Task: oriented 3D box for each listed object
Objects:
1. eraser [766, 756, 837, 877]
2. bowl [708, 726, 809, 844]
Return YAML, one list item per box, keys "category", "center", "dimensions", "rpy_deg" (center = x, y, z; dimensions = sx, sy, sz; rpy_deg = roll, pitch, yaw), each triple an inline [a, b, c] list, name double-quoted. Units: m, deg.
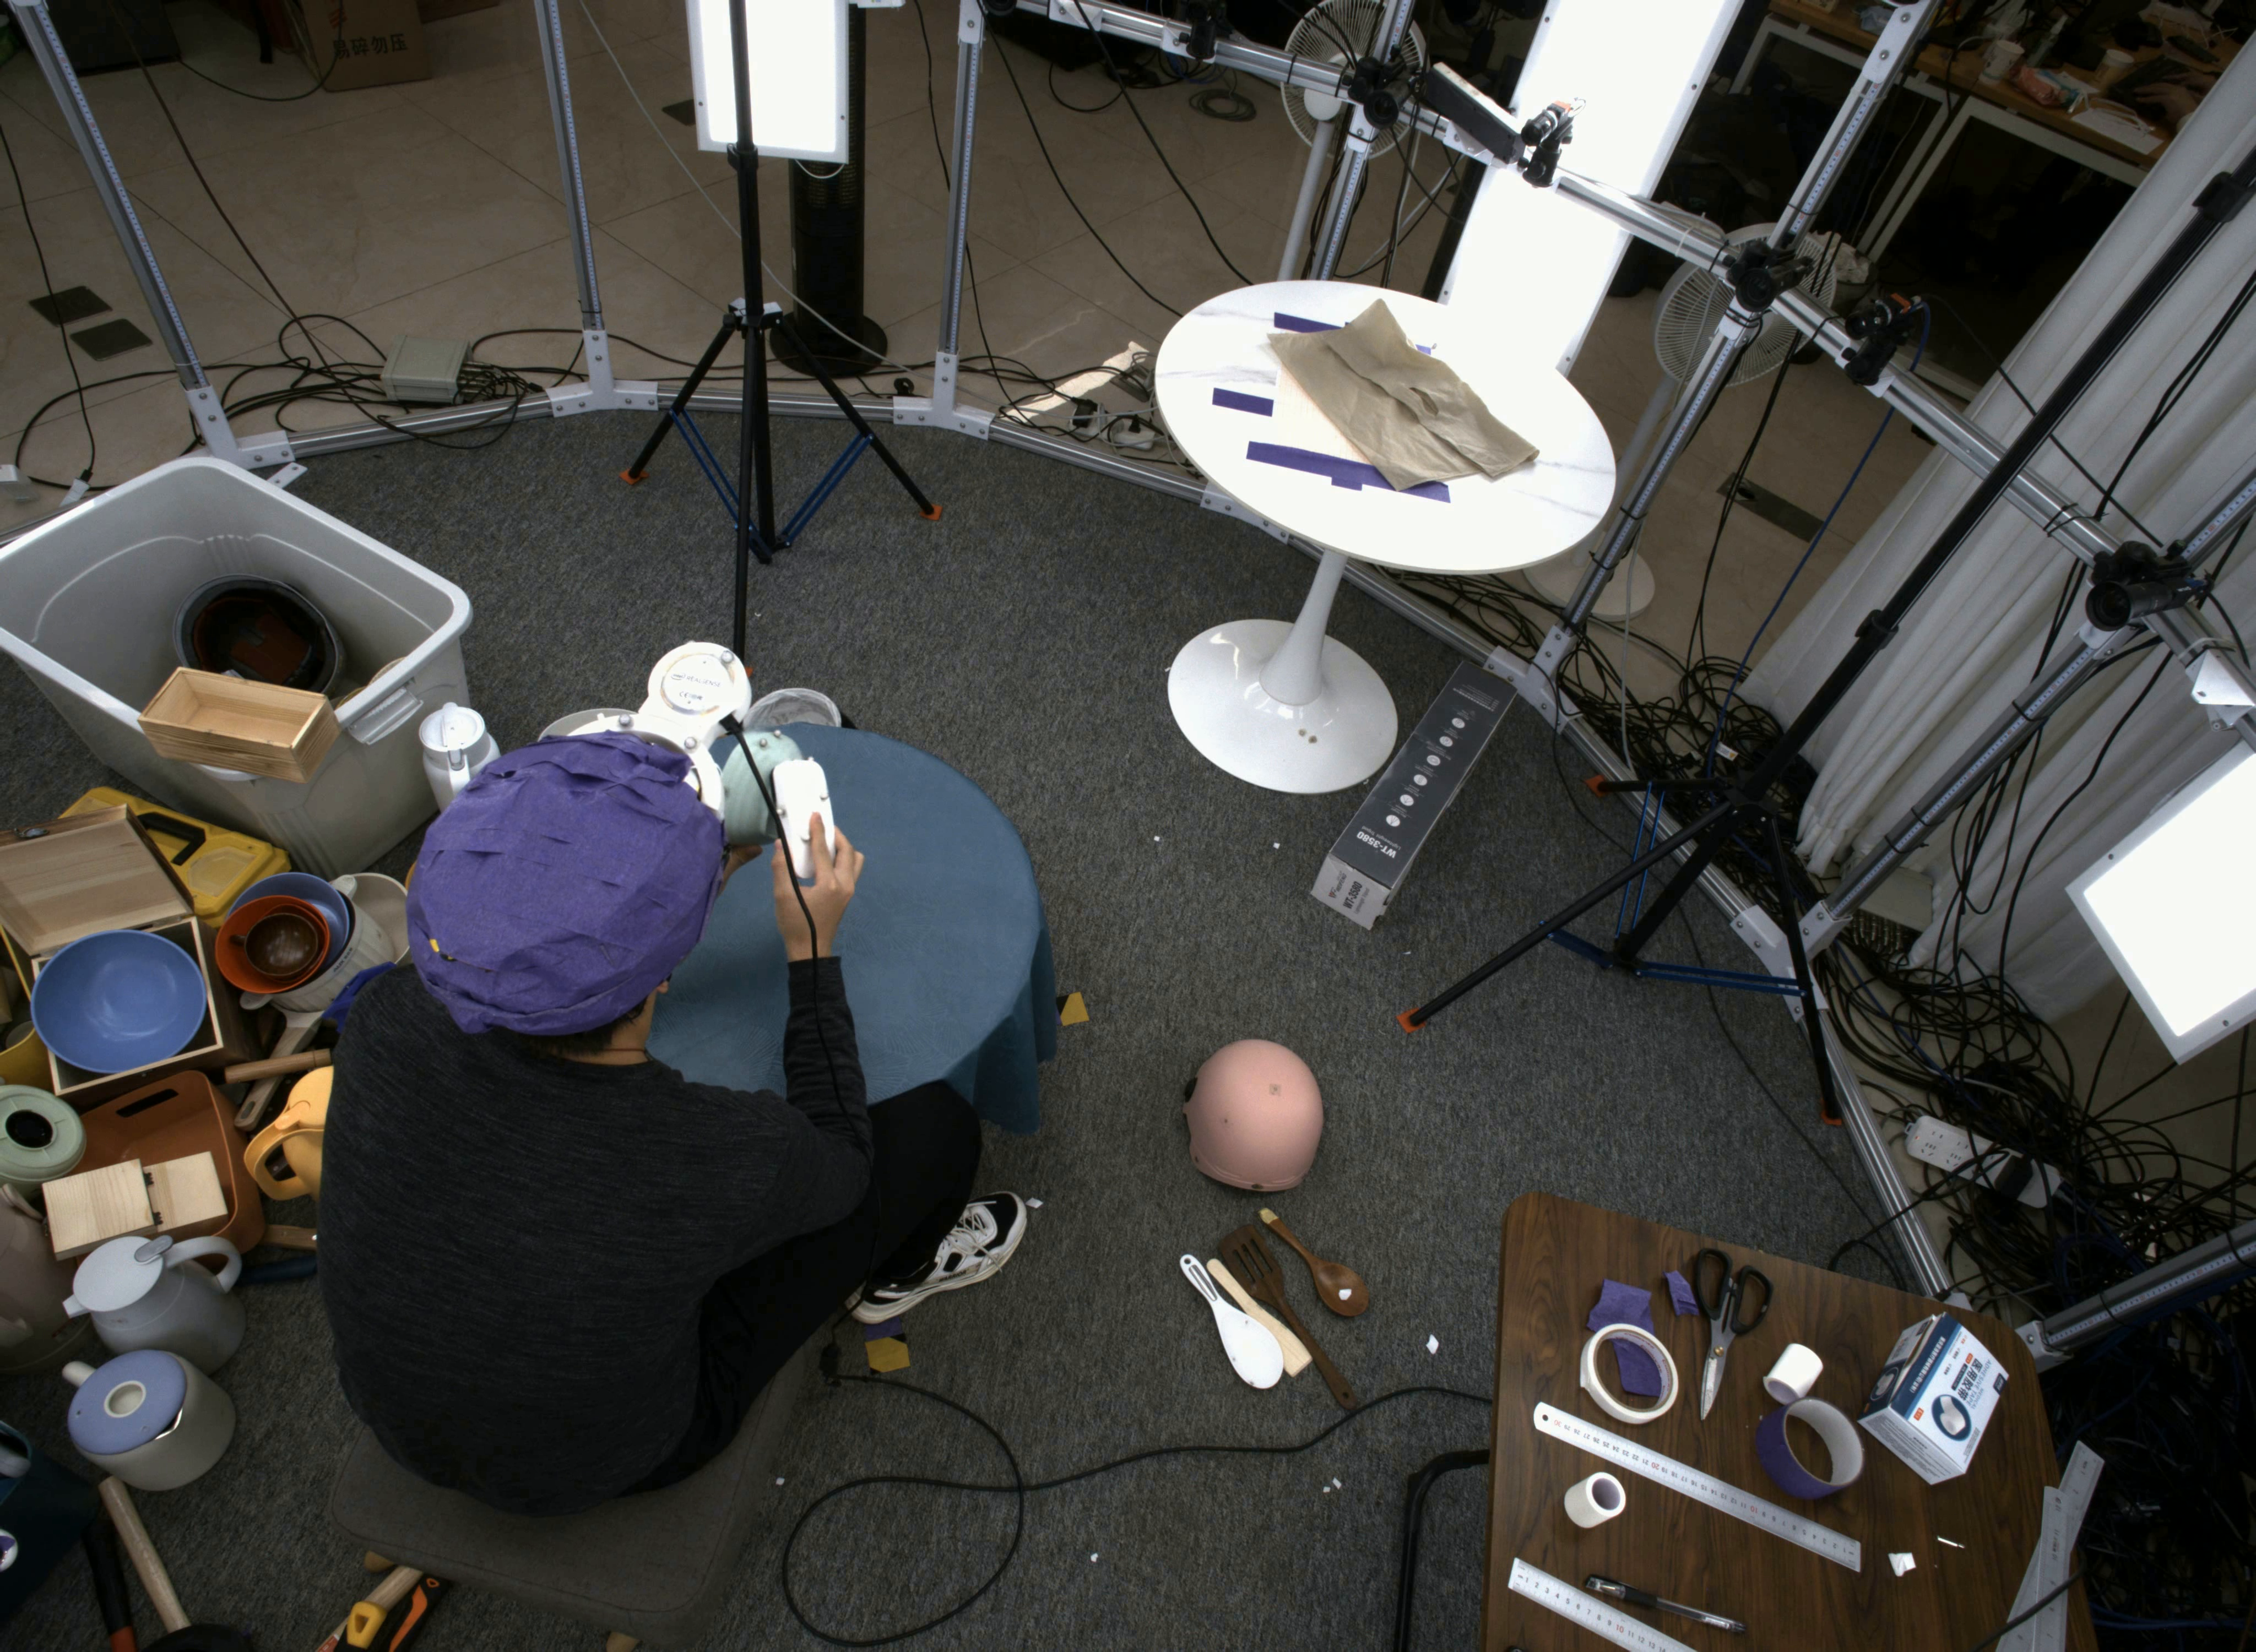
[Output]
- category: "eraser"
  center: [-0.359, -0.012, 1.422]
  dimensions: [0.064, 0.033, 0.132]
  rpy_deg: [-6, 85, -55]
- category: "bowl"
  center: [-0.406, -0.038, 1.472]
  dimensions: [0.057, 0.156, 0.151]
  rpy_deg: [23, 50, 19]
